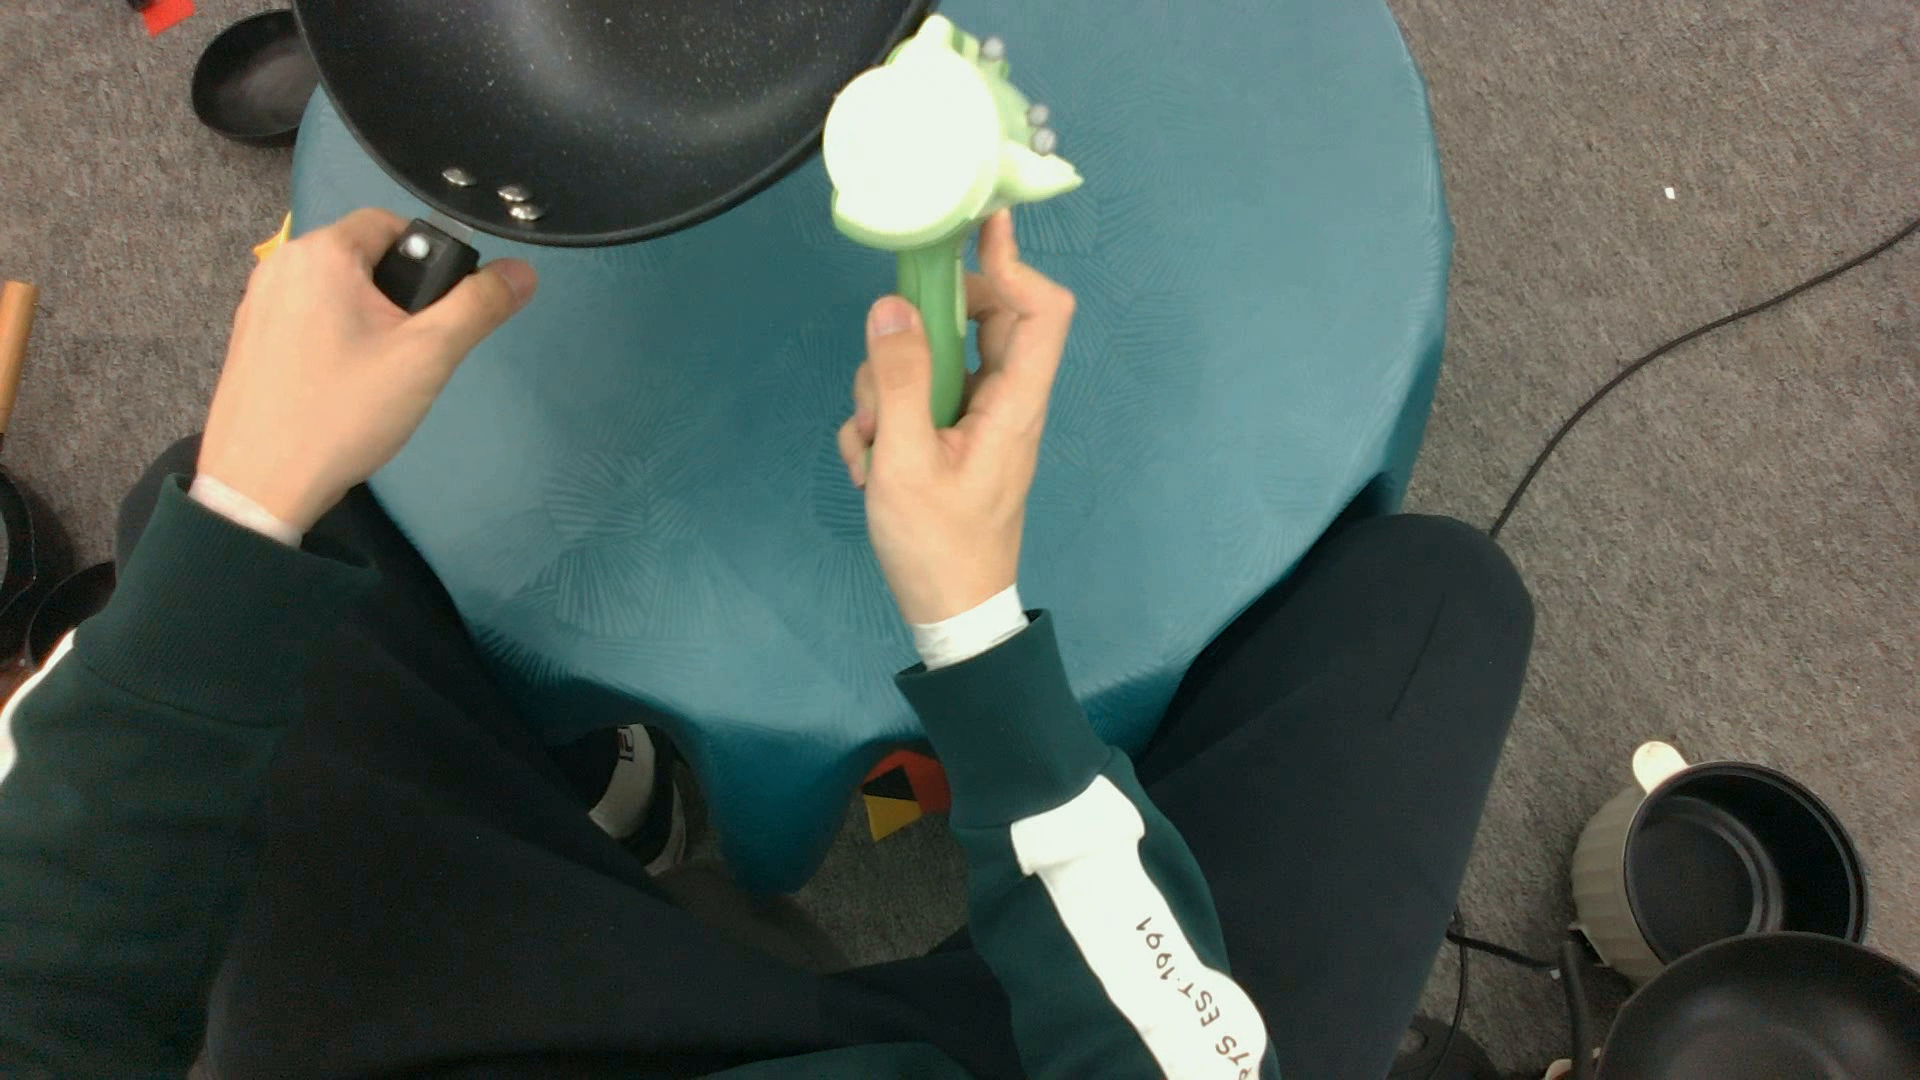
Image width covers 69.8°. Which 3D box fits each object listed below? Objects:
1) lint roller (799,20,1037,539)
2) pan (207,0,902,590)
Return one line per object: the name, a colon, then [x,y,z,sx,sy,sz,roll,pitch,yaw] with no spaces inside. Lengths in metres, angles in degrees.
lint roller: [-0.009,-0.091,0.522,0.082,0.199,0.183,-3,104,4]
pan: [-0.164,-0.196,0.535,0.310,0.112,0.476,28,101,19]
